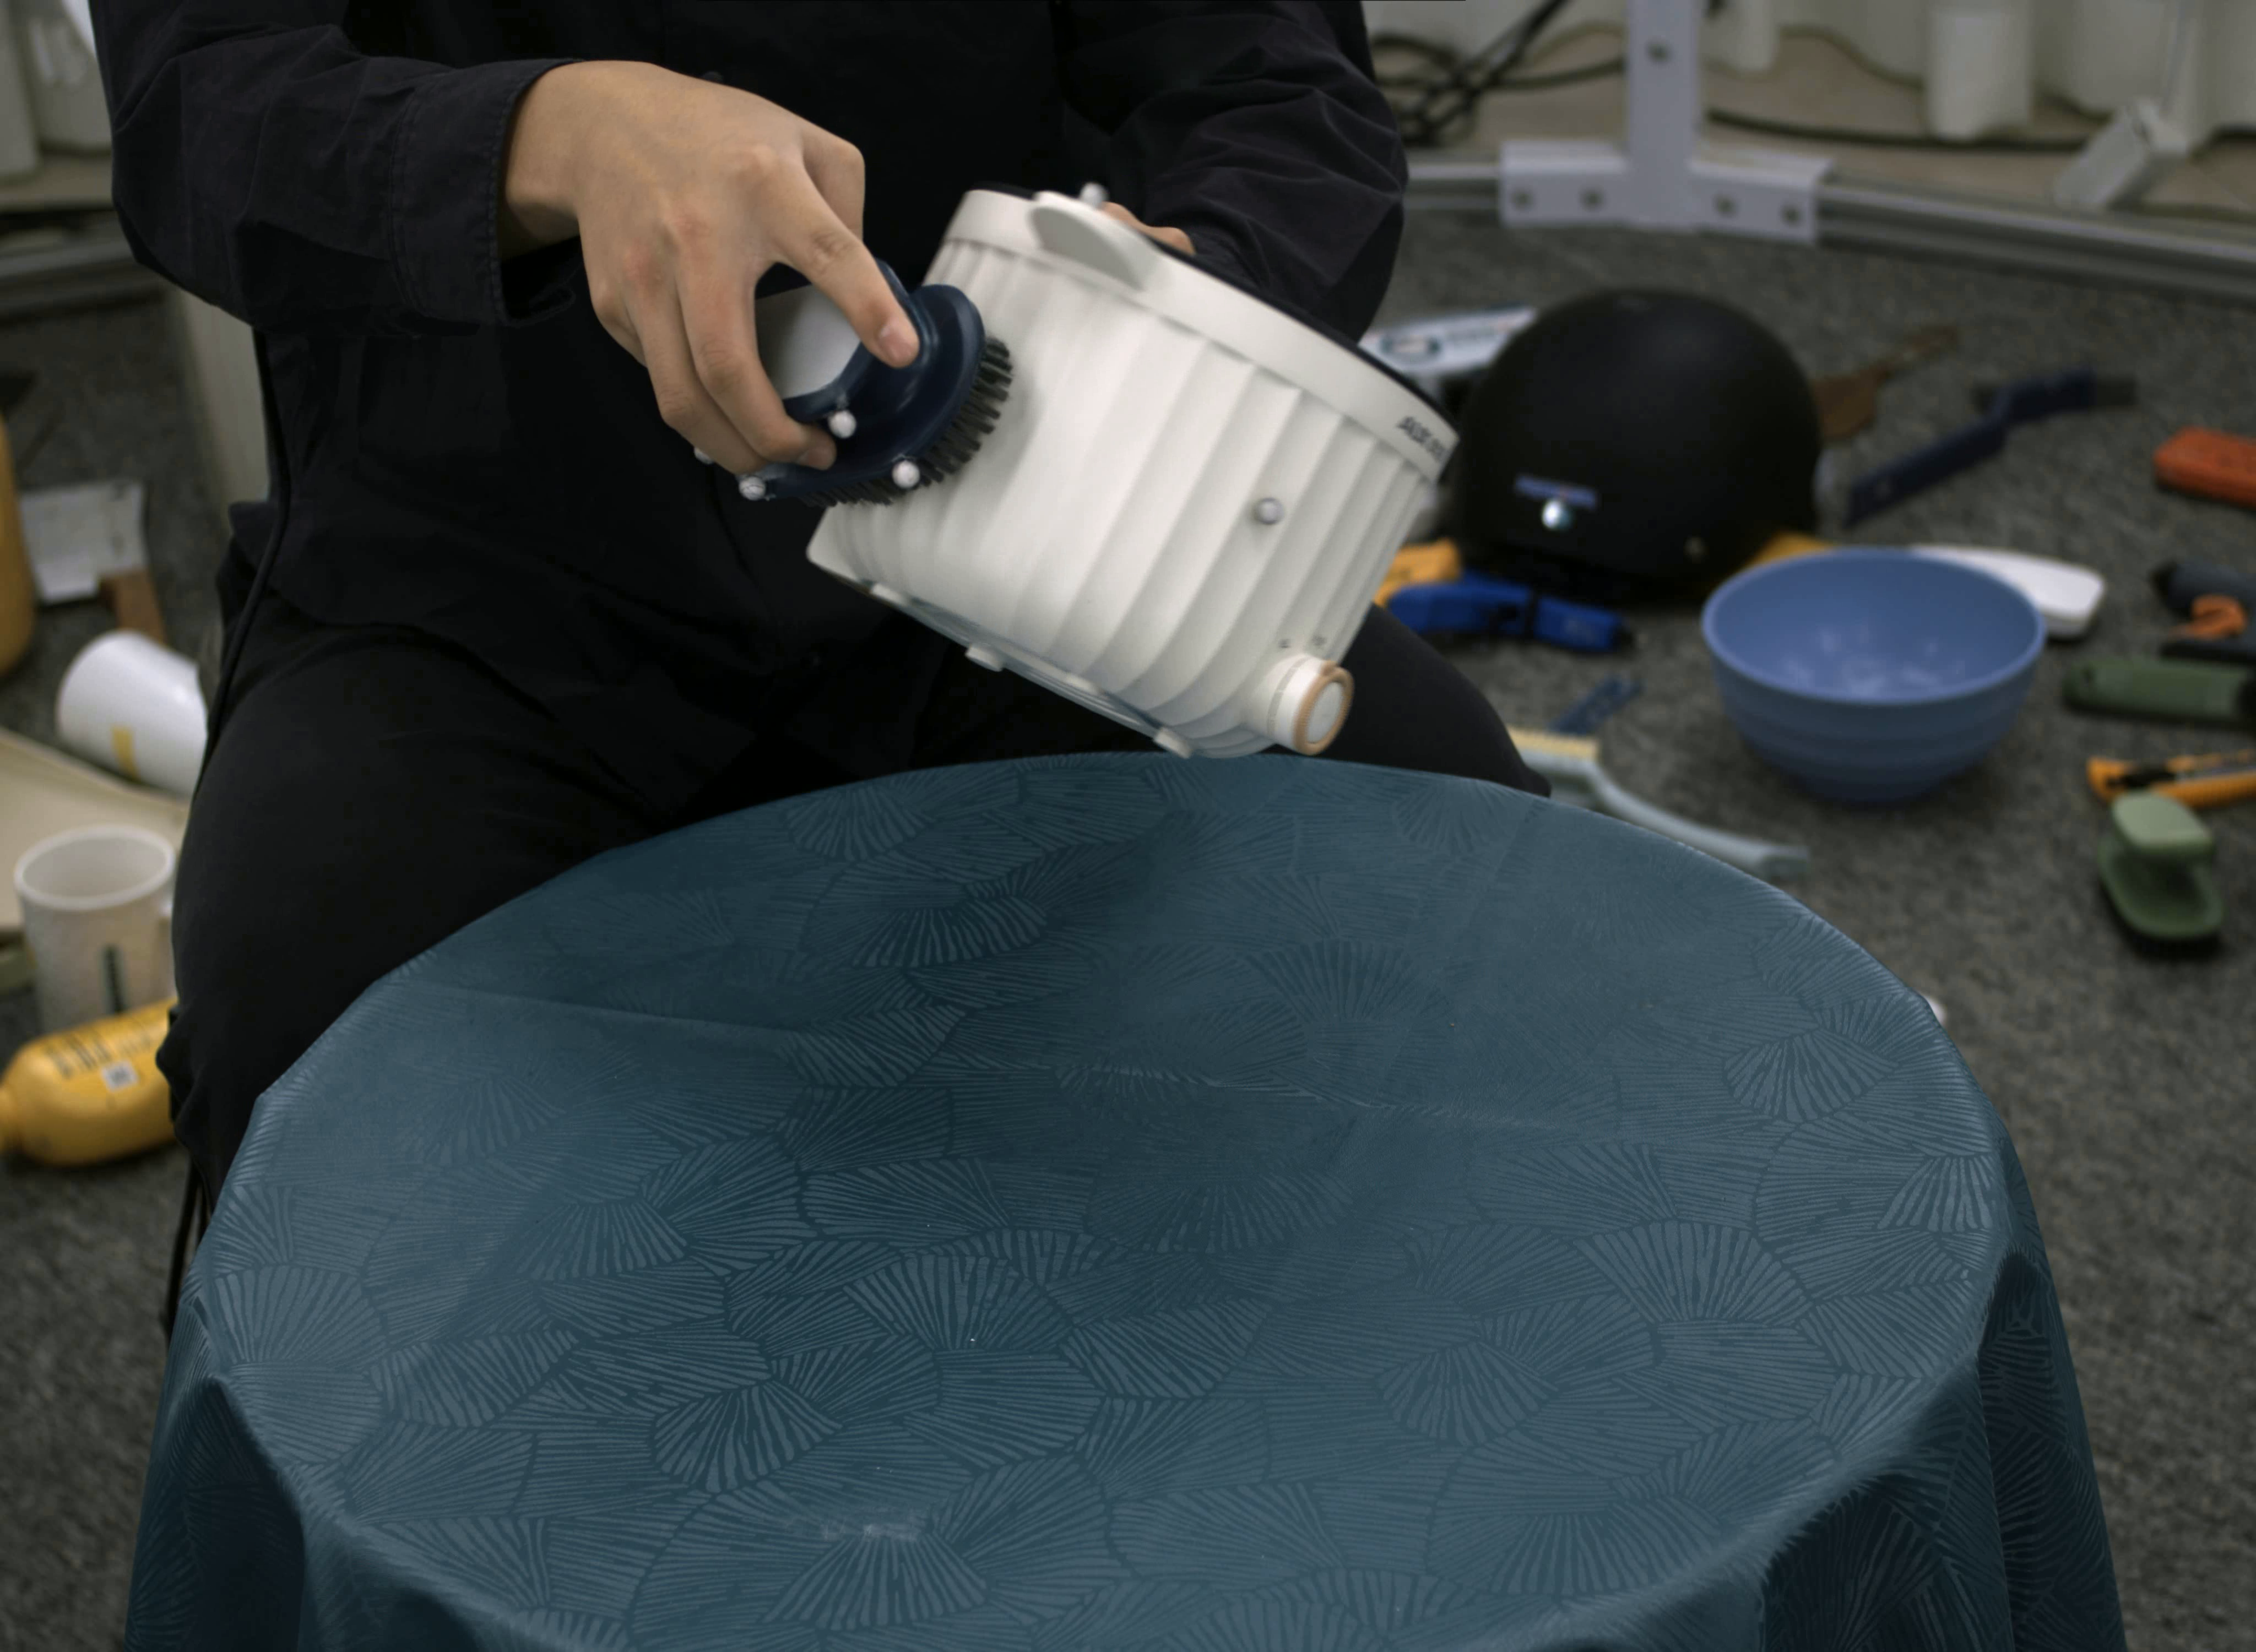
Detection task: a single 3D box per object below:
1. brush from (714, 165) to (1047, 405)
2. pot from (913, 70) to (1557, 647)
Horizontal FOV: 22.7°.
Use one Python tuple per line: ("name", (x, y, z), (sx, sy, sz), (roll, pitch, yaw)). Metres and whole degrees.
("brush", (-0.078, -0.171, 1.810), (0.061, 0.069, 0.120), (27, -18, -36))
("pot", (0.038, -0.146, 1.875), (0.190, 0.143, 0.239), (22, -4, 25))
